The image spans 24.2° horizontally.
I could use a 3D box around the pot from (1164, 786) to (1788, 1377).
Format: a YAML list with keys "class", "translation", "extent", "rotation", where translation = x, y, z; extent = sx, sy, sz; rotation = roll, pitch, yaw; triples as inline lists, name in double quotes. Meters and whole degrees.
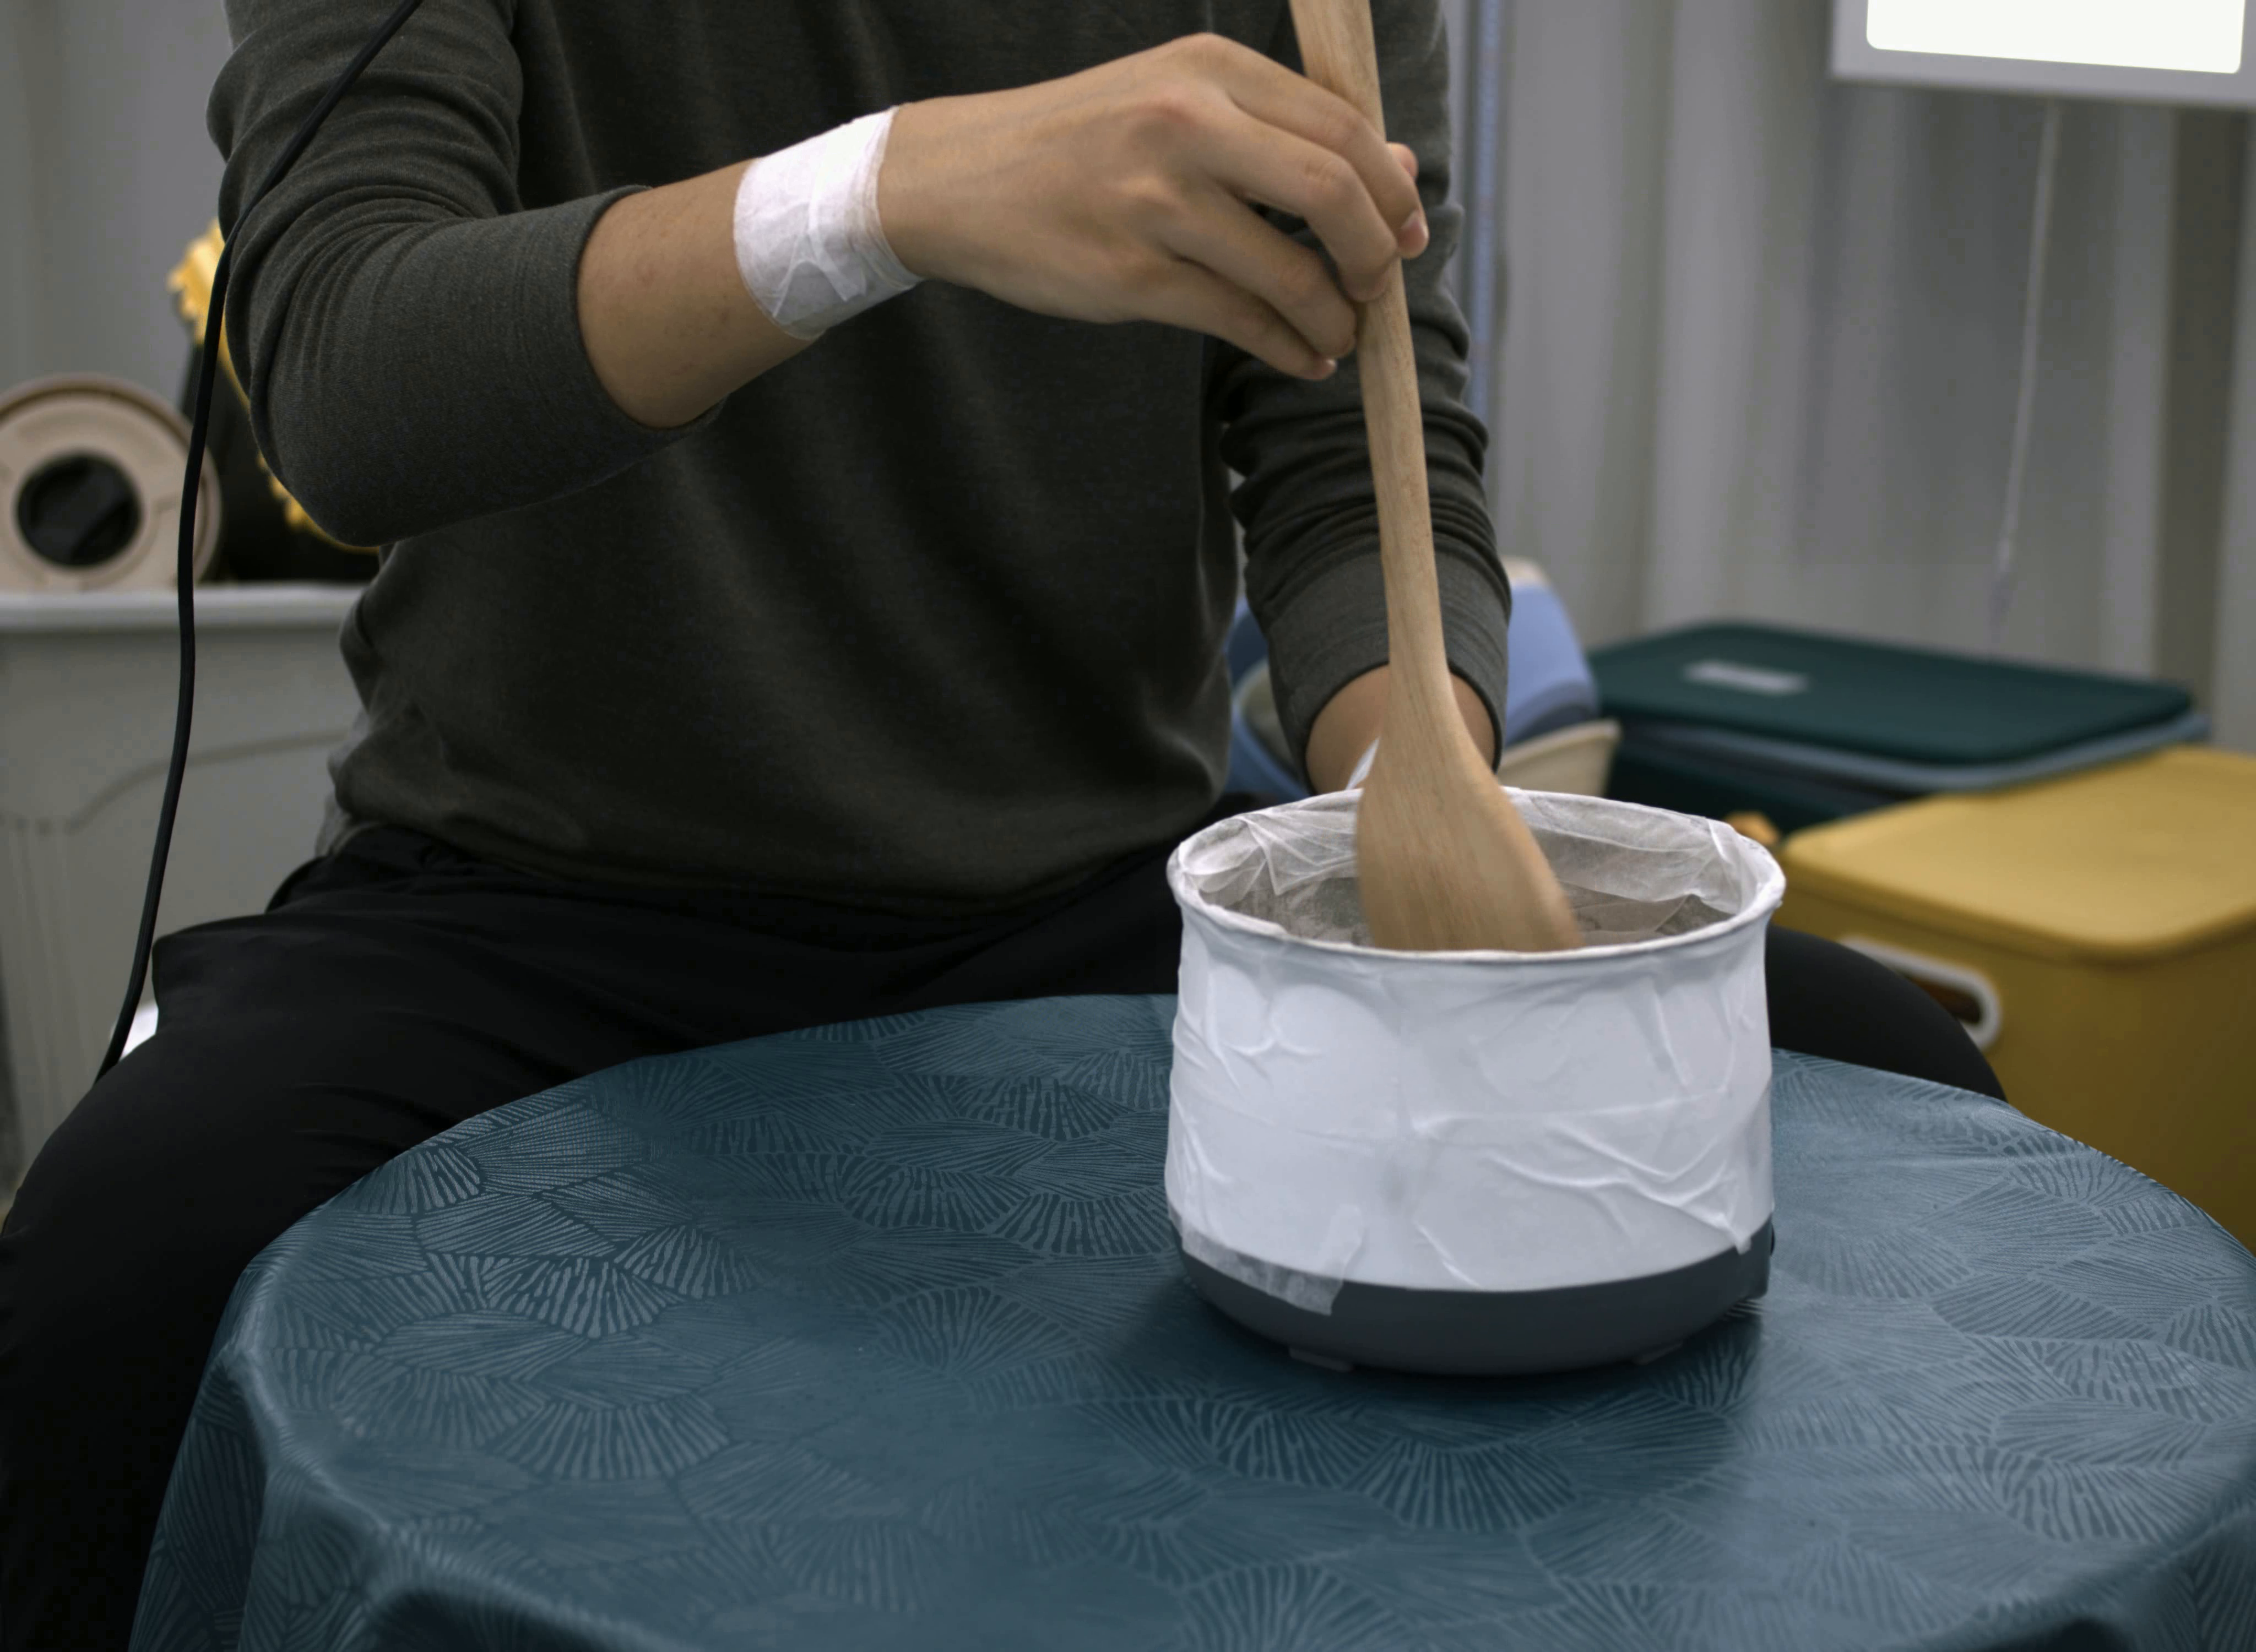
- class: "pot"
  translation: [0.096, 0.065, 1.541]
  extent: [0.178, 0.138, 0.232]
  rotation: [-1, 16, -6]

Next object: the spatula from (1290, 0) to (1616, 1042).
- class: "spatula"
  translation: [0.077, -0.116, 1.469]
  extent: [0.094, 0.394, 0.018]
  rotation: [6, 21, 44]
